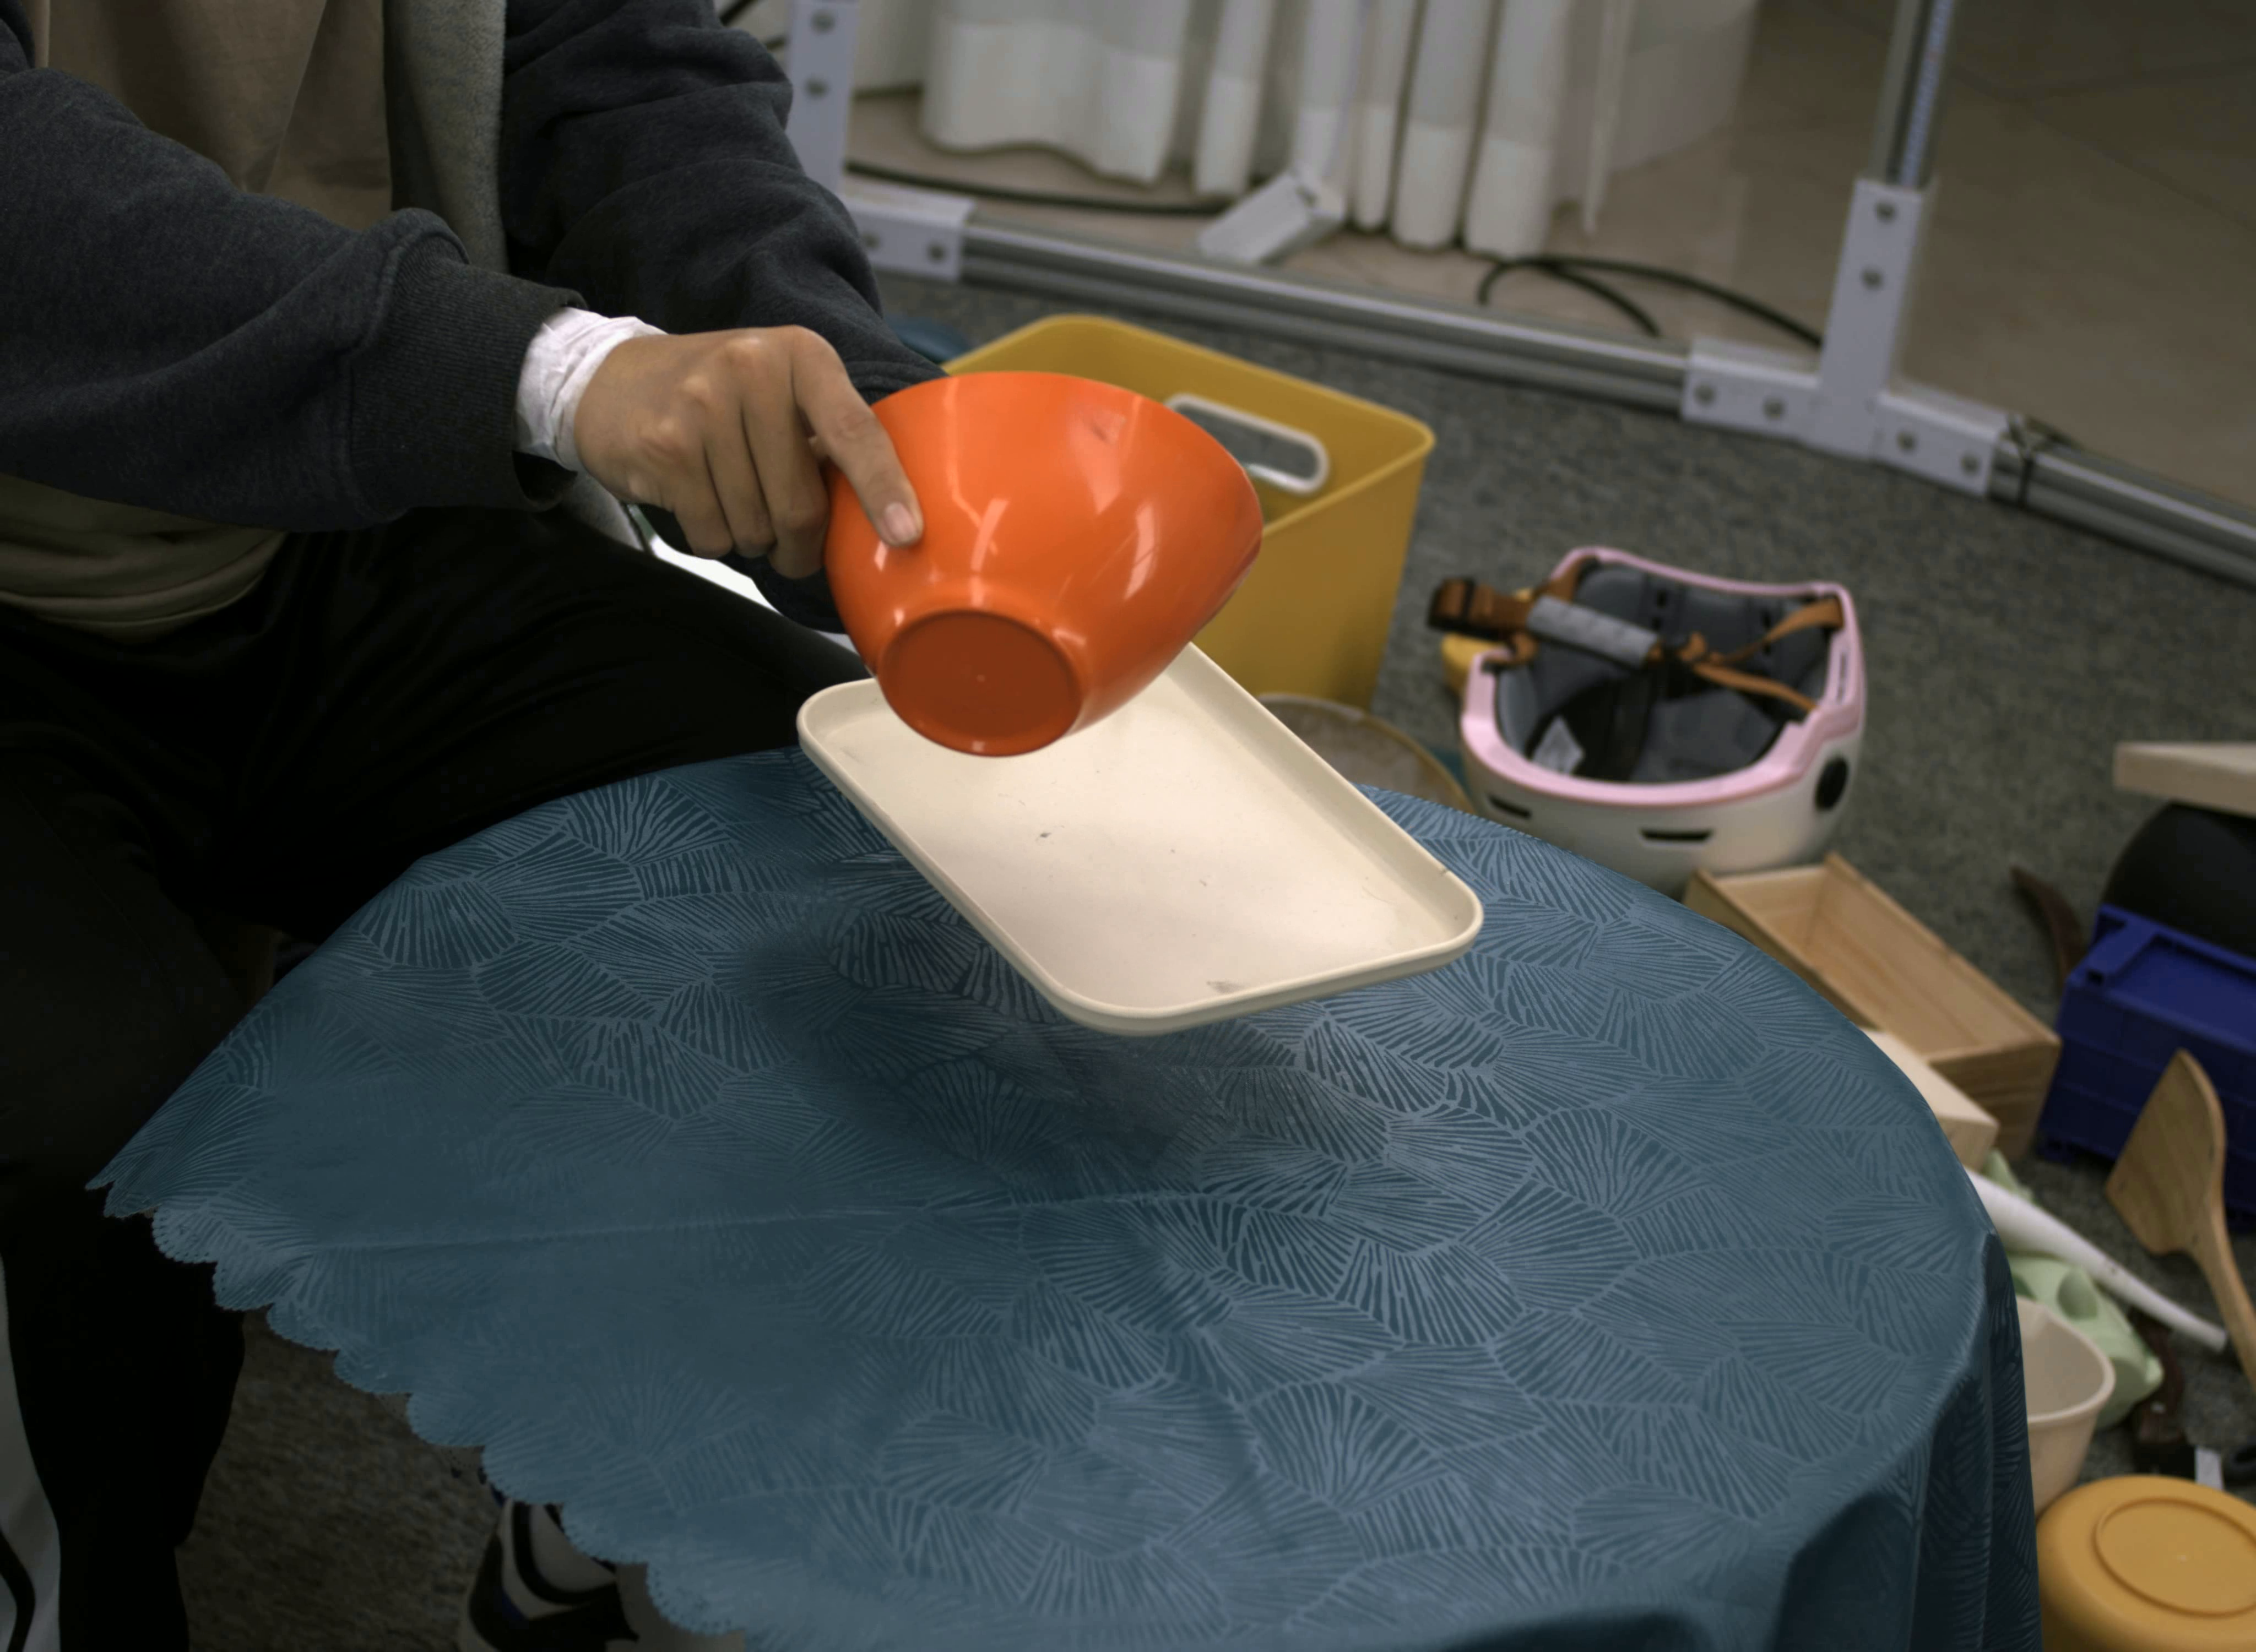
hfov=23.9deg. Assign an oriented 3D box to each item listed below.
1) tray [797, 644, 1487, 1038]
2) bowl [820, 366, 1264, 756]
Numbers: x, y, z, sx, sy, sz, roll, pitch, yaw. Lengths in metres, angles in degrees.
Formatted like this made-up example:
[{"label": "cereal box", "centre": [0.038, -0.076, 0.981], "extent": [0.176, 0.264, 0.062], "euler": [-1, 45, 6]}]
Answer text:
[{"label": "tray", "centre": [0.002, 0.001, 1.874], "extent": [0.170, 0.017, 0.242], "euler": [-13, 34, -28]}, {"label": "bowl", "centre": [-0.035, -0.074, 1.733], "extent": [0.148, 0.147, 0.105], "euler": [9, 46, 4]}]
